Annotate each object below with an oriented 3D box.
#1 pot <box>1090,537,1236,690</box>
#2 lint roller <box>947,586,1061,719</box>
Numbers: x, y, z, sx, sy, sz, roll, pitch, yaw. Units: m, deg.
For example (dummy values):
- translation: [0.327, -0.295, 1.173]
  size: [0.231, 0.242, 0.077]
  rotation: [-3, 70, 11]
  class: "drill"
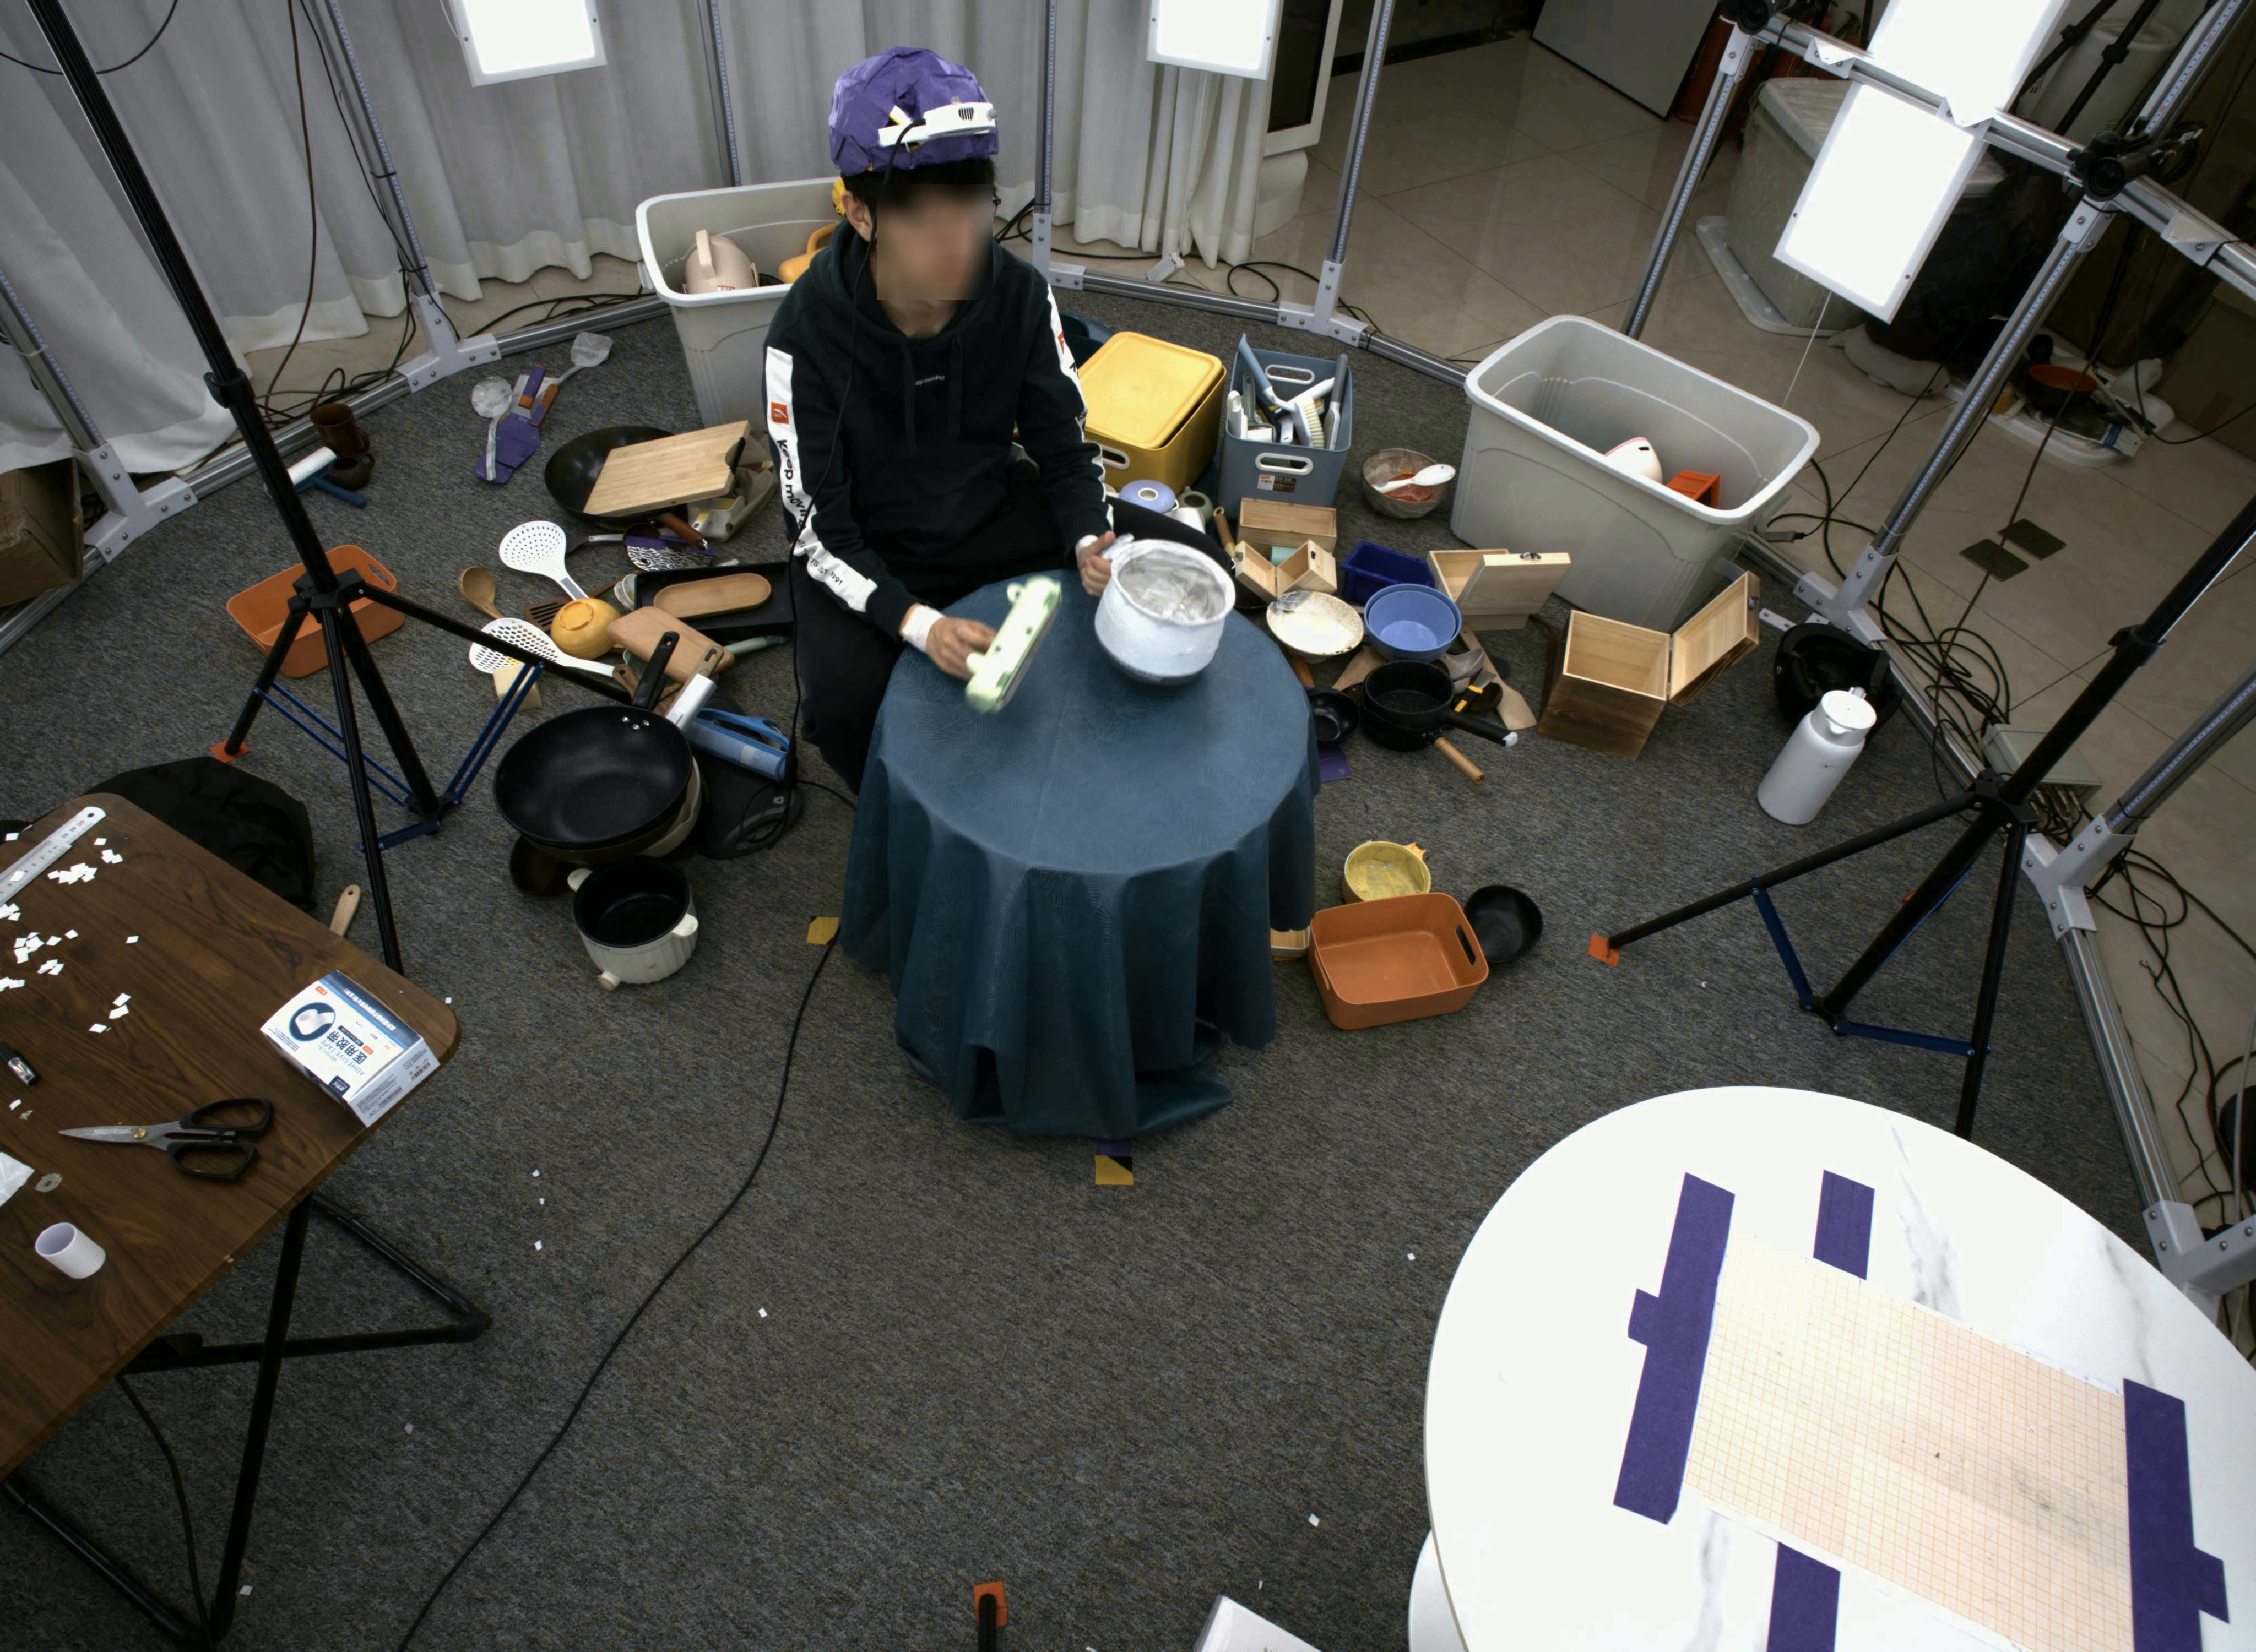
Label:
- translation: [0.031, -0.310, 1.818]
  size: [0.179, 0.134, 0.237]
  rotation: [-23, 60, -35]
  class: "pot"
- translation: [-0.199, -0.244, 1.745]
  size: [0.185, 0.080, 0.201]
  rotation: [10, 61, 41]
  class: "lint roller"
